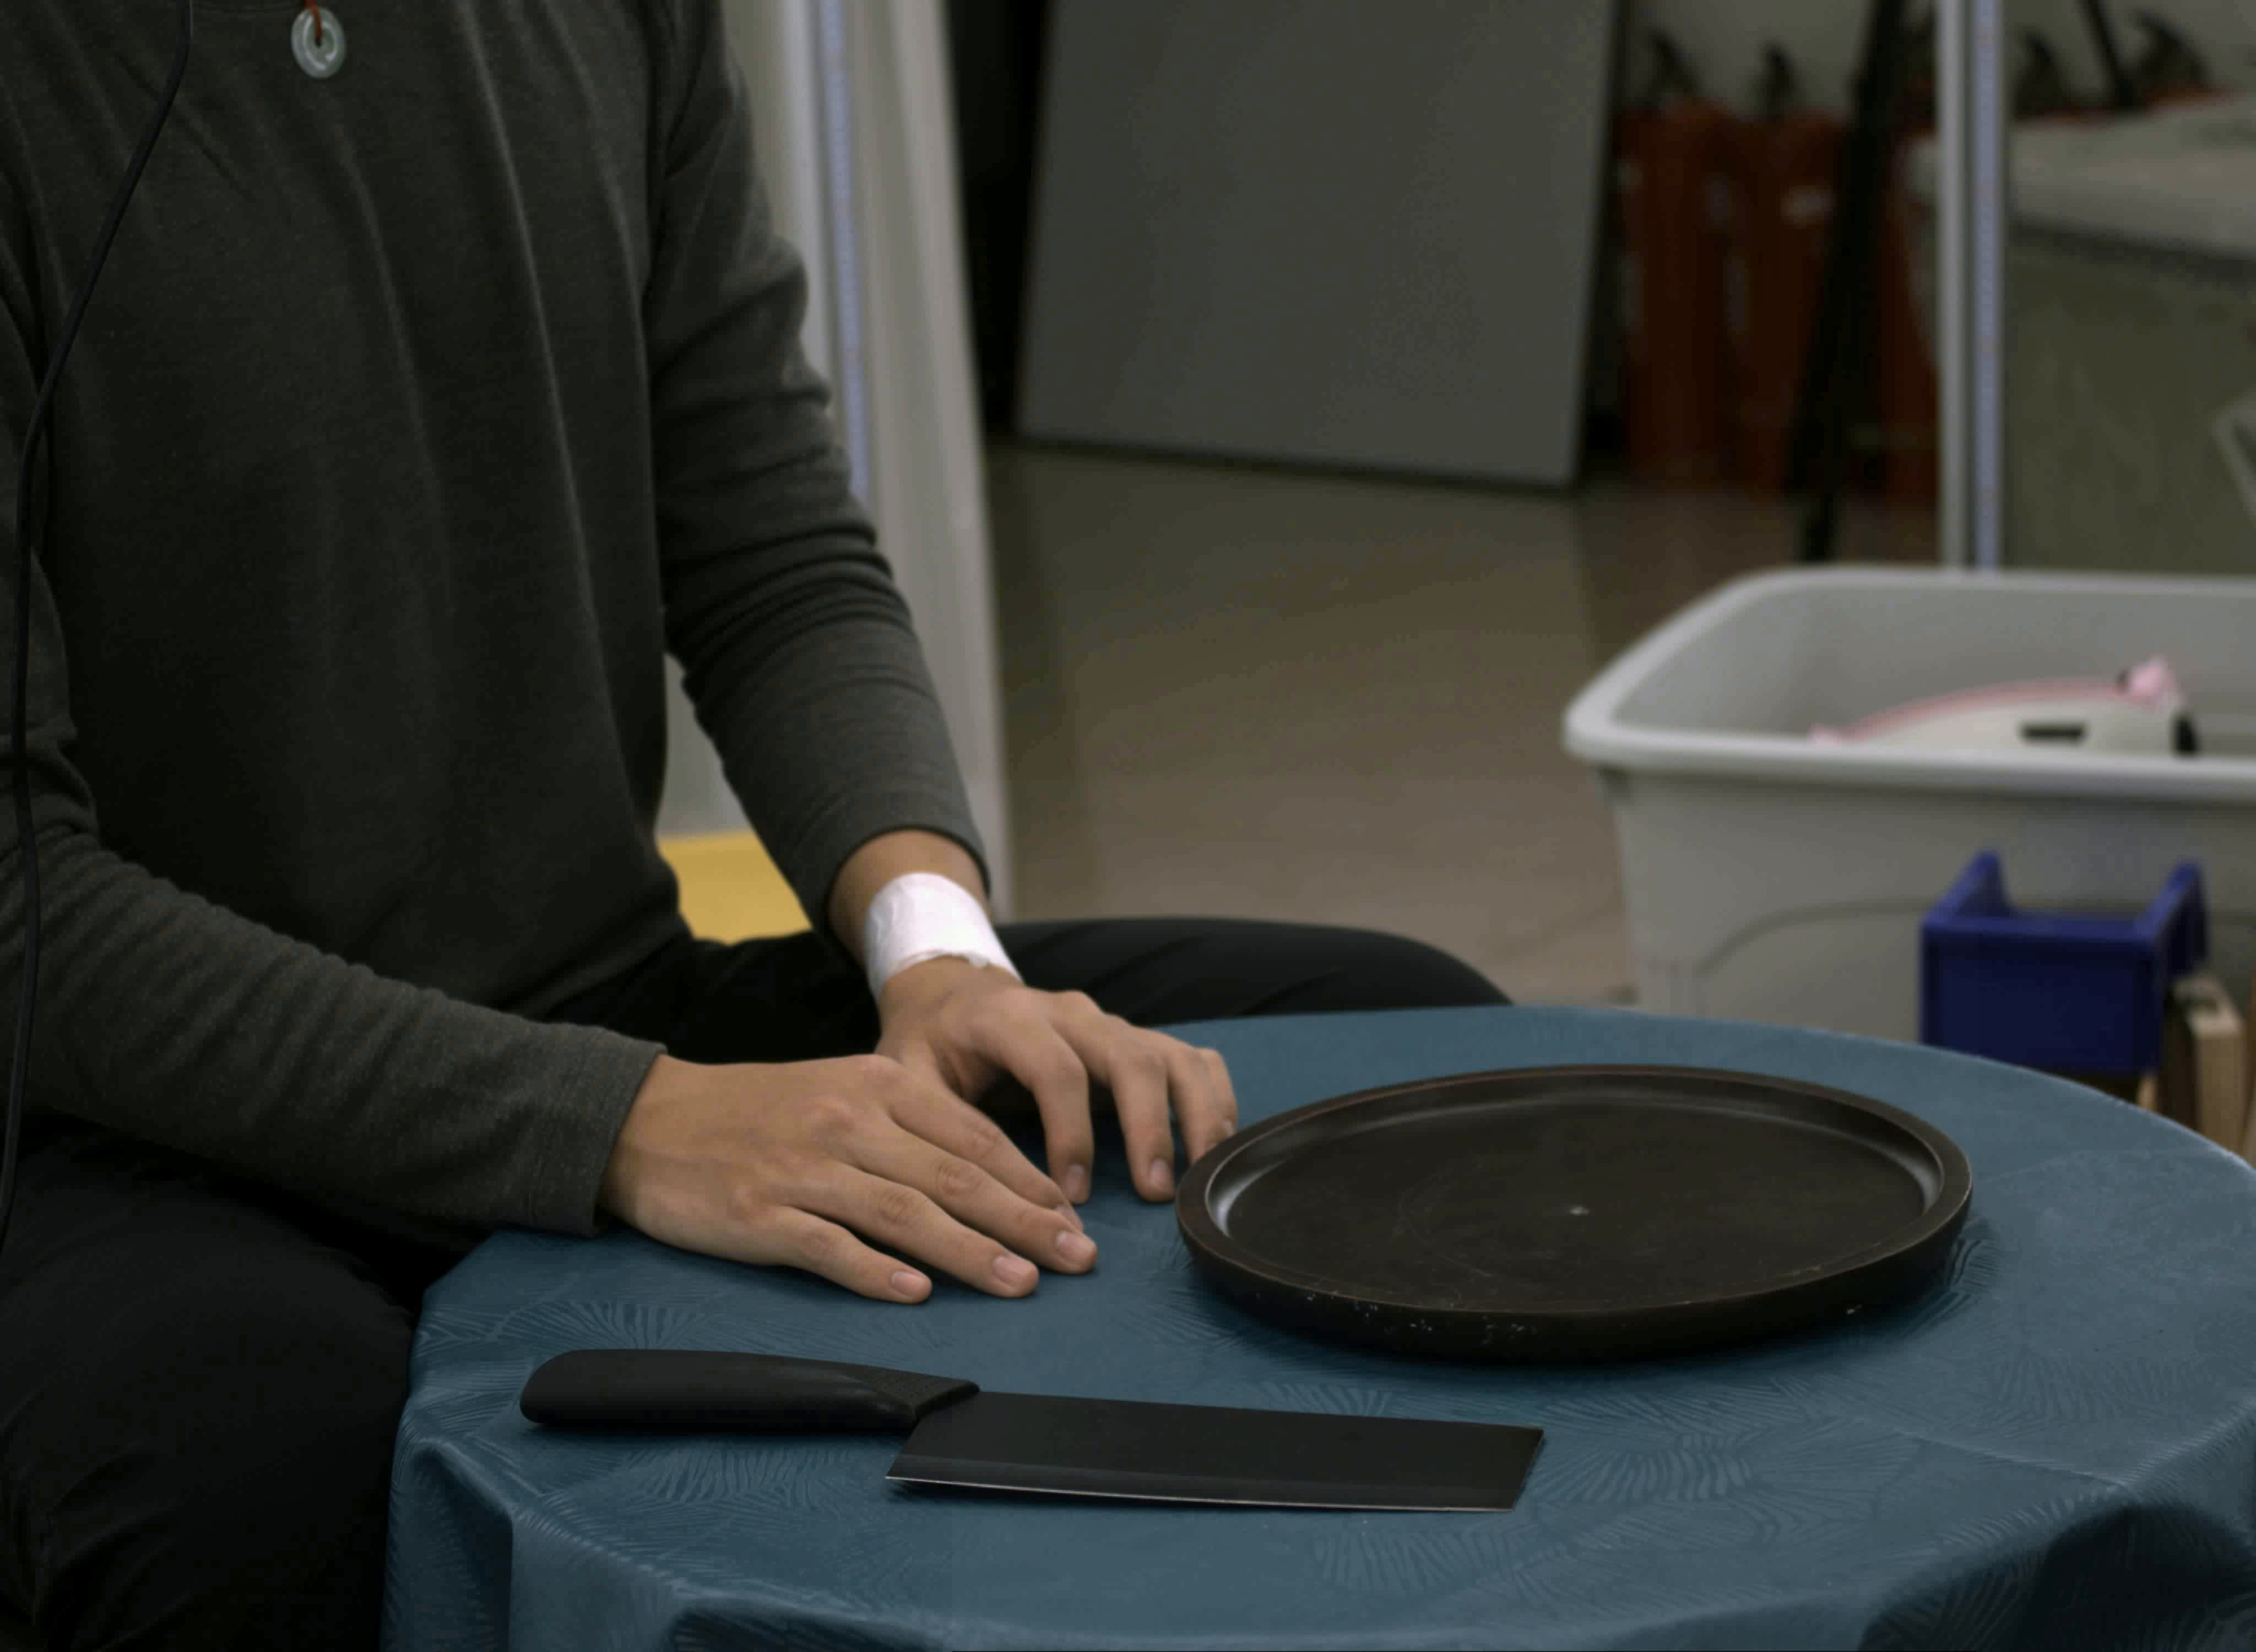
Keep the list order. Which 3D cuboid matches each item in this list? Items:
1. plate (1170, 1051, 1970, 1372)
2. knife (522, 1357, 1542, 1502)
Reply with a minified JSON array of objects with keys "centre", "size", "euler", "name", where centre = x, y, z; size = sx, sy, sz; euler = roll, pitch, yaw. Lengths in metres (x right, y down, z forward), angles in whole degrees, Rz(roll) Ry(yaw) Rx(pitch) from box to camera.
[{"centre":[0.138,0.121,1.688],"size":[0.251,0.029,0.255],"euler":[-5,15,0],"name":"plate"},{"centre":[-0.031,0.174,1.538],"size":[0.301,0.021,0.080],"euler":[2,16,19],"name":"knife"}]
